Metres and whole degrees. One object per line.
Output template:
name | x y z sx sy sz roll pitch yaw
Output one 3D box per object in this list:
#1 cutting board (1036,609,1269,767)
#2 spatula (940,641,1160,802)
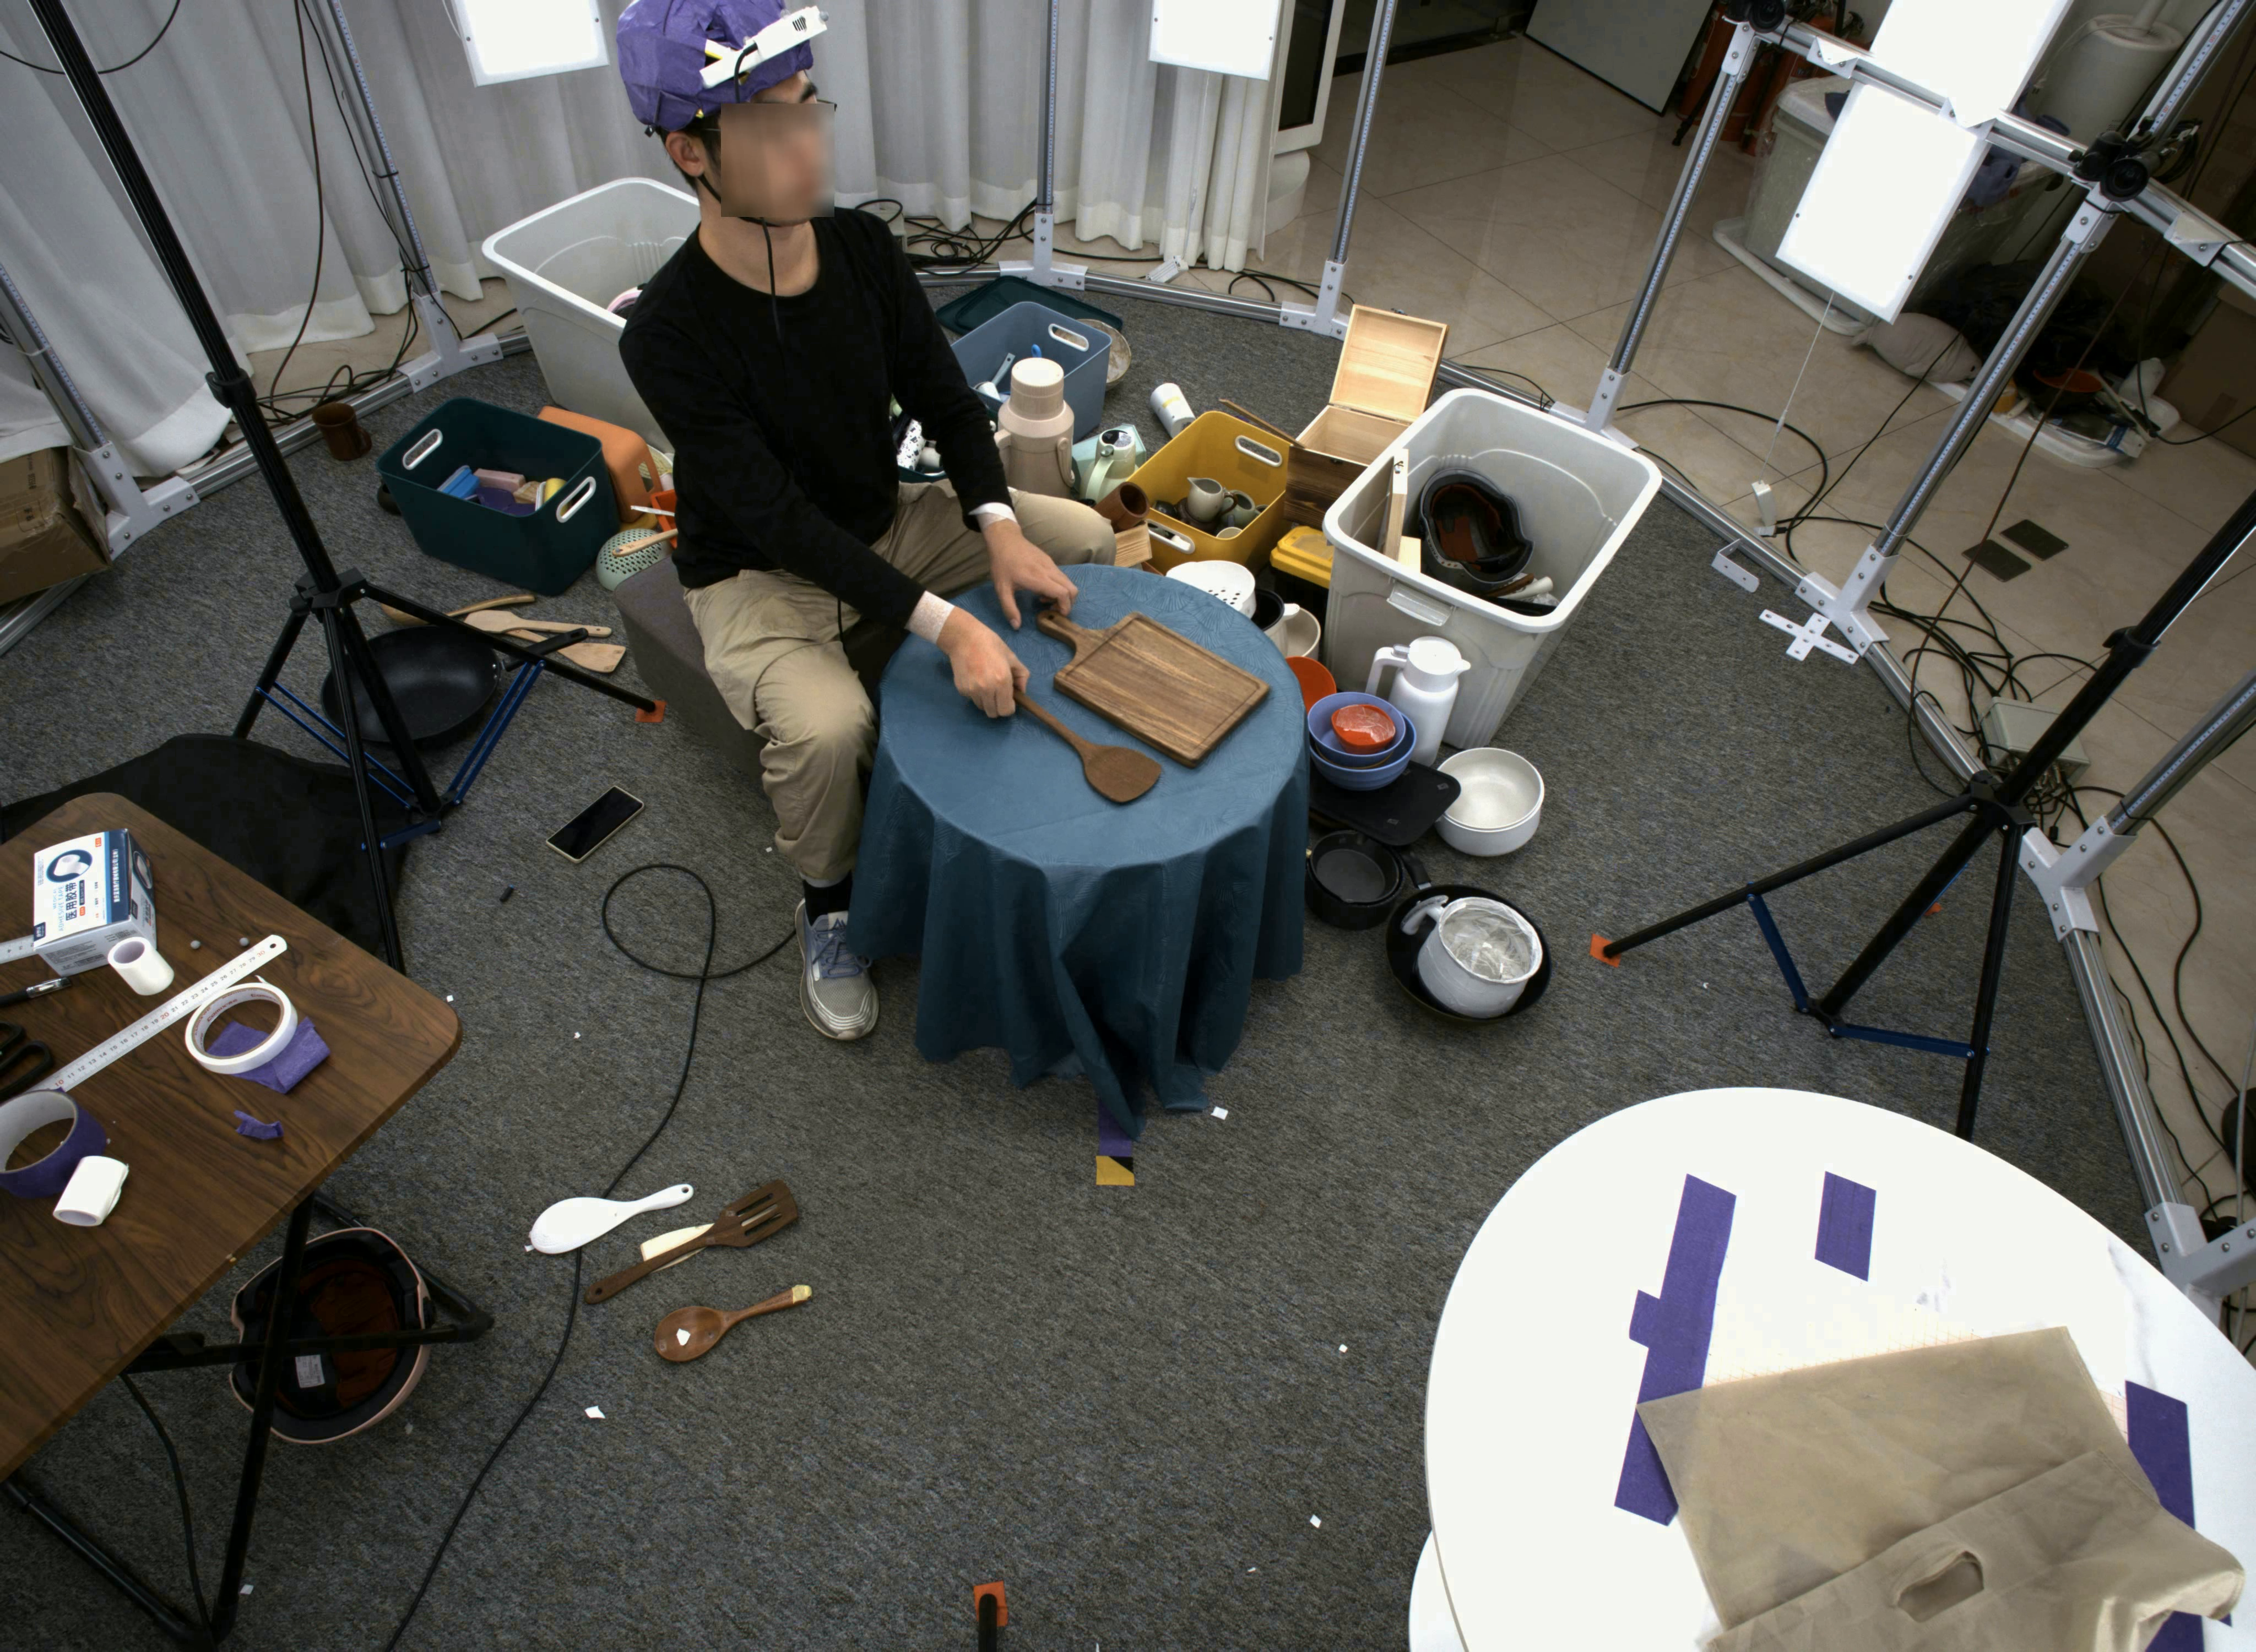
cutting board | 0.009 -0.227 1.854 0.356 0.022 0.203 32 54 22
spatula | -0.121 -0.155 1.777 0.391 0.015 0.097 37 55 21
